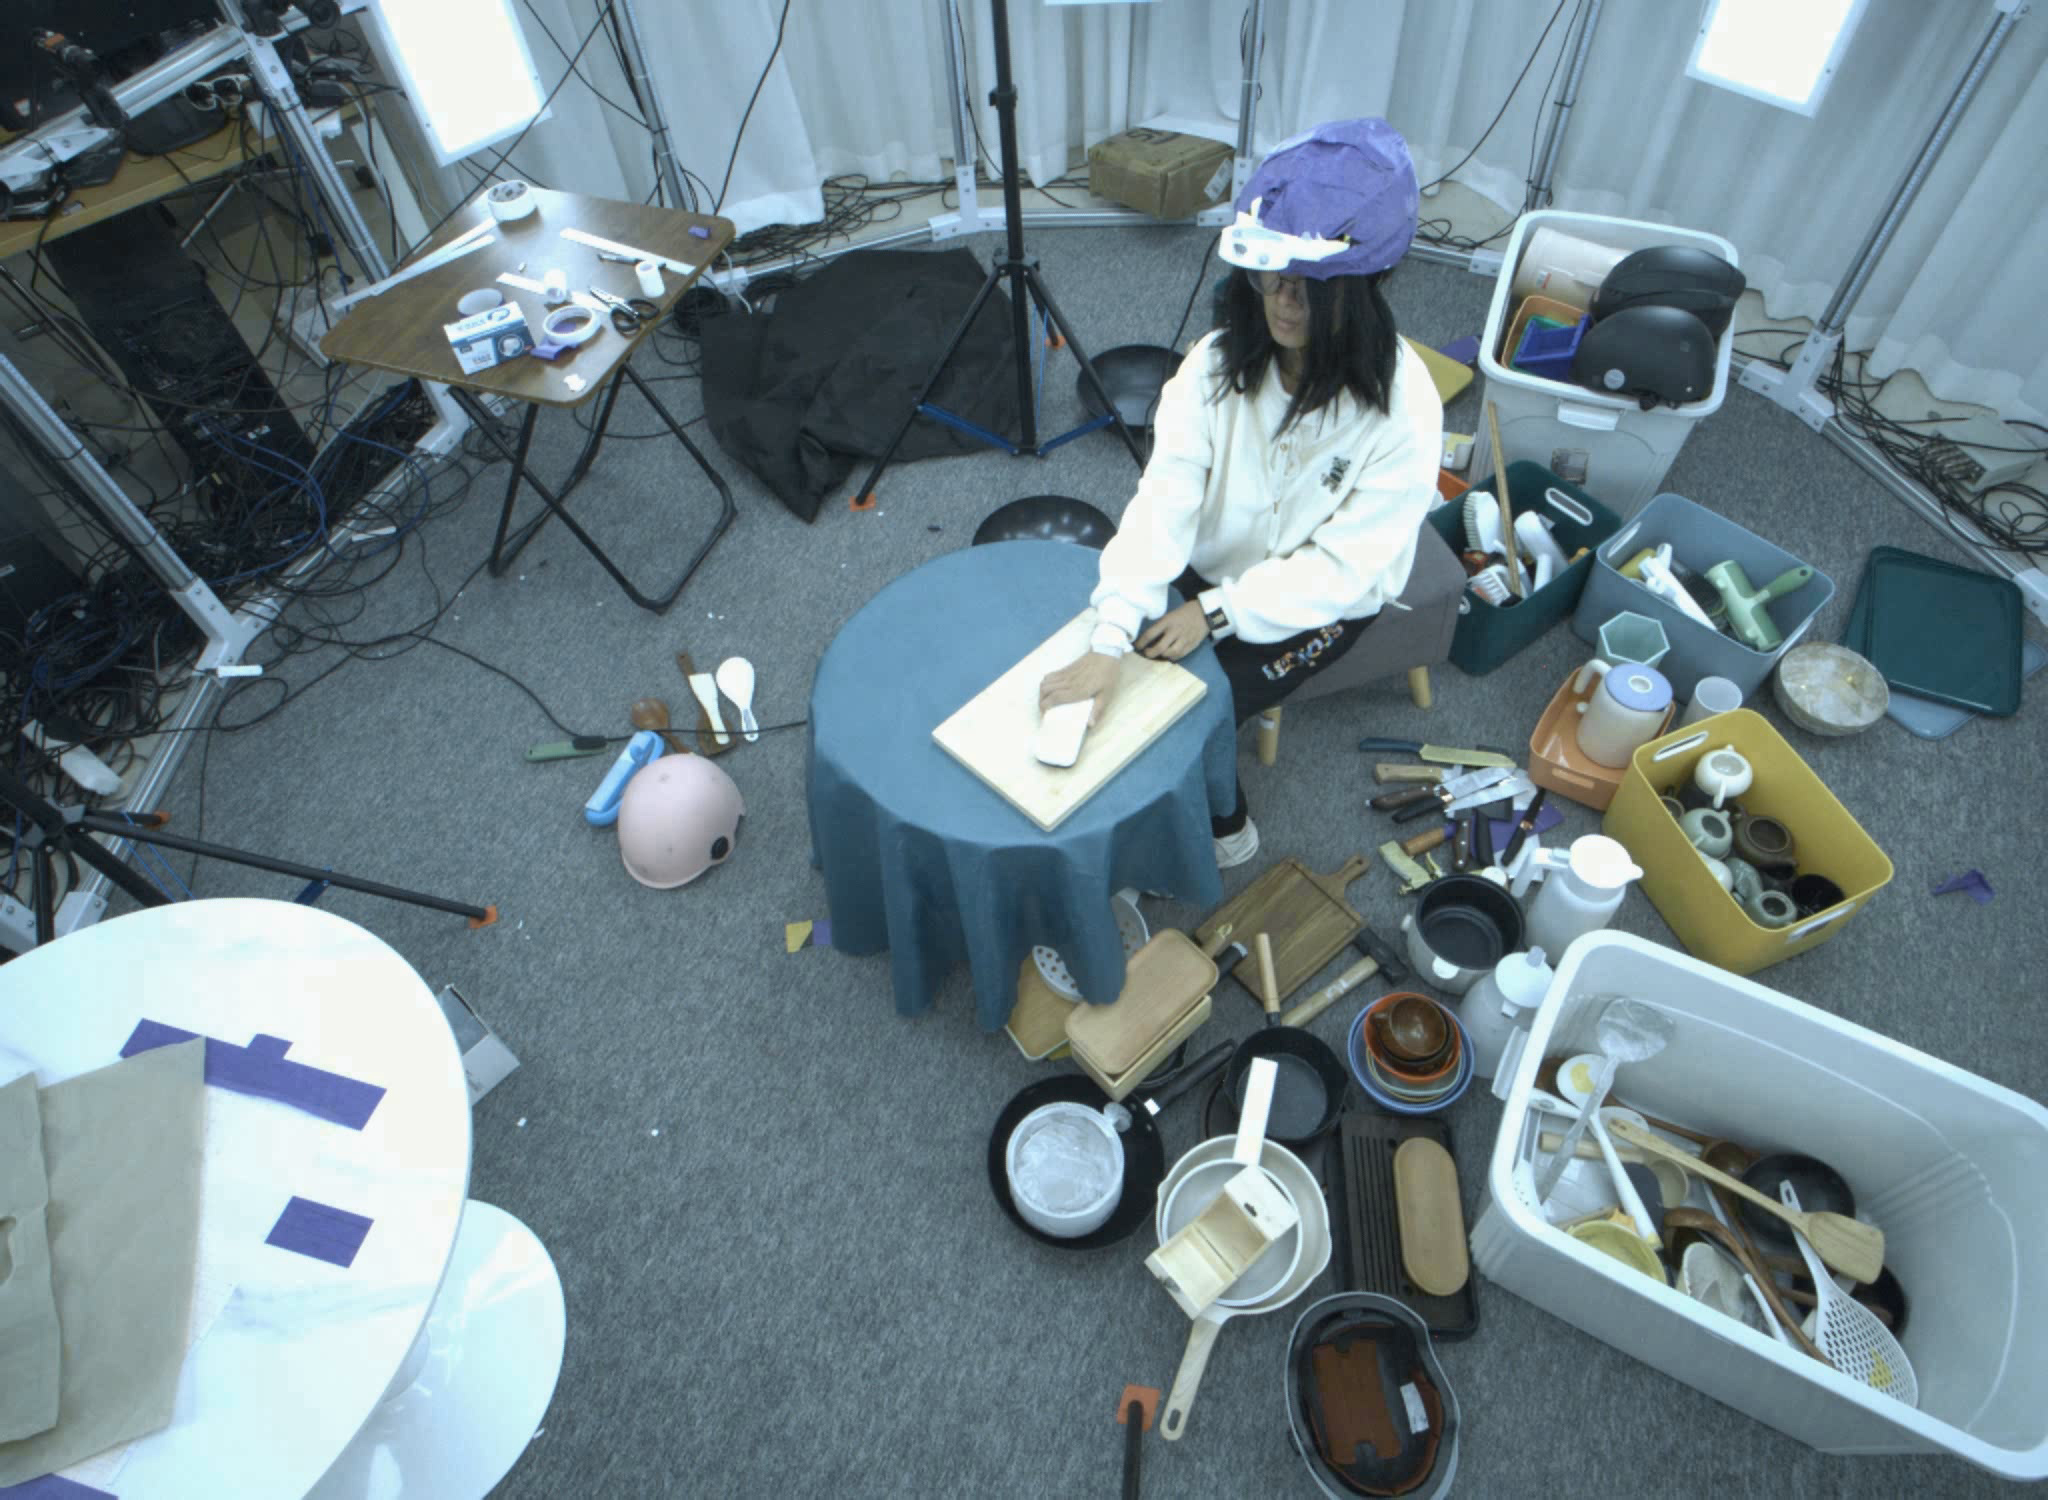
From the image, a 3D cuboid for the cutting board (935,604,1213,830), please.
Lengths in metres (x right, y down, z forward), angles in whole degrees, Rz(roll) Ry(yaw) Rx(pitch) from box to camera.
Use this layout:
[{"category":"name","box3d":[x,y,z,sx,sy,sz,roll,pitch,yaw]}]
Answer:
[{"category":"cutting board","box3d":[0.074,-0.059,1.817,0.246,0.024,0.351,37,64,24]}]

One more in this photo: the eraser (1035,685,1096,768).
[{"category":"eraser","box3d":[0.061,-0.035,1.770,0.063,0.035,0.131,14,57,12]}]
